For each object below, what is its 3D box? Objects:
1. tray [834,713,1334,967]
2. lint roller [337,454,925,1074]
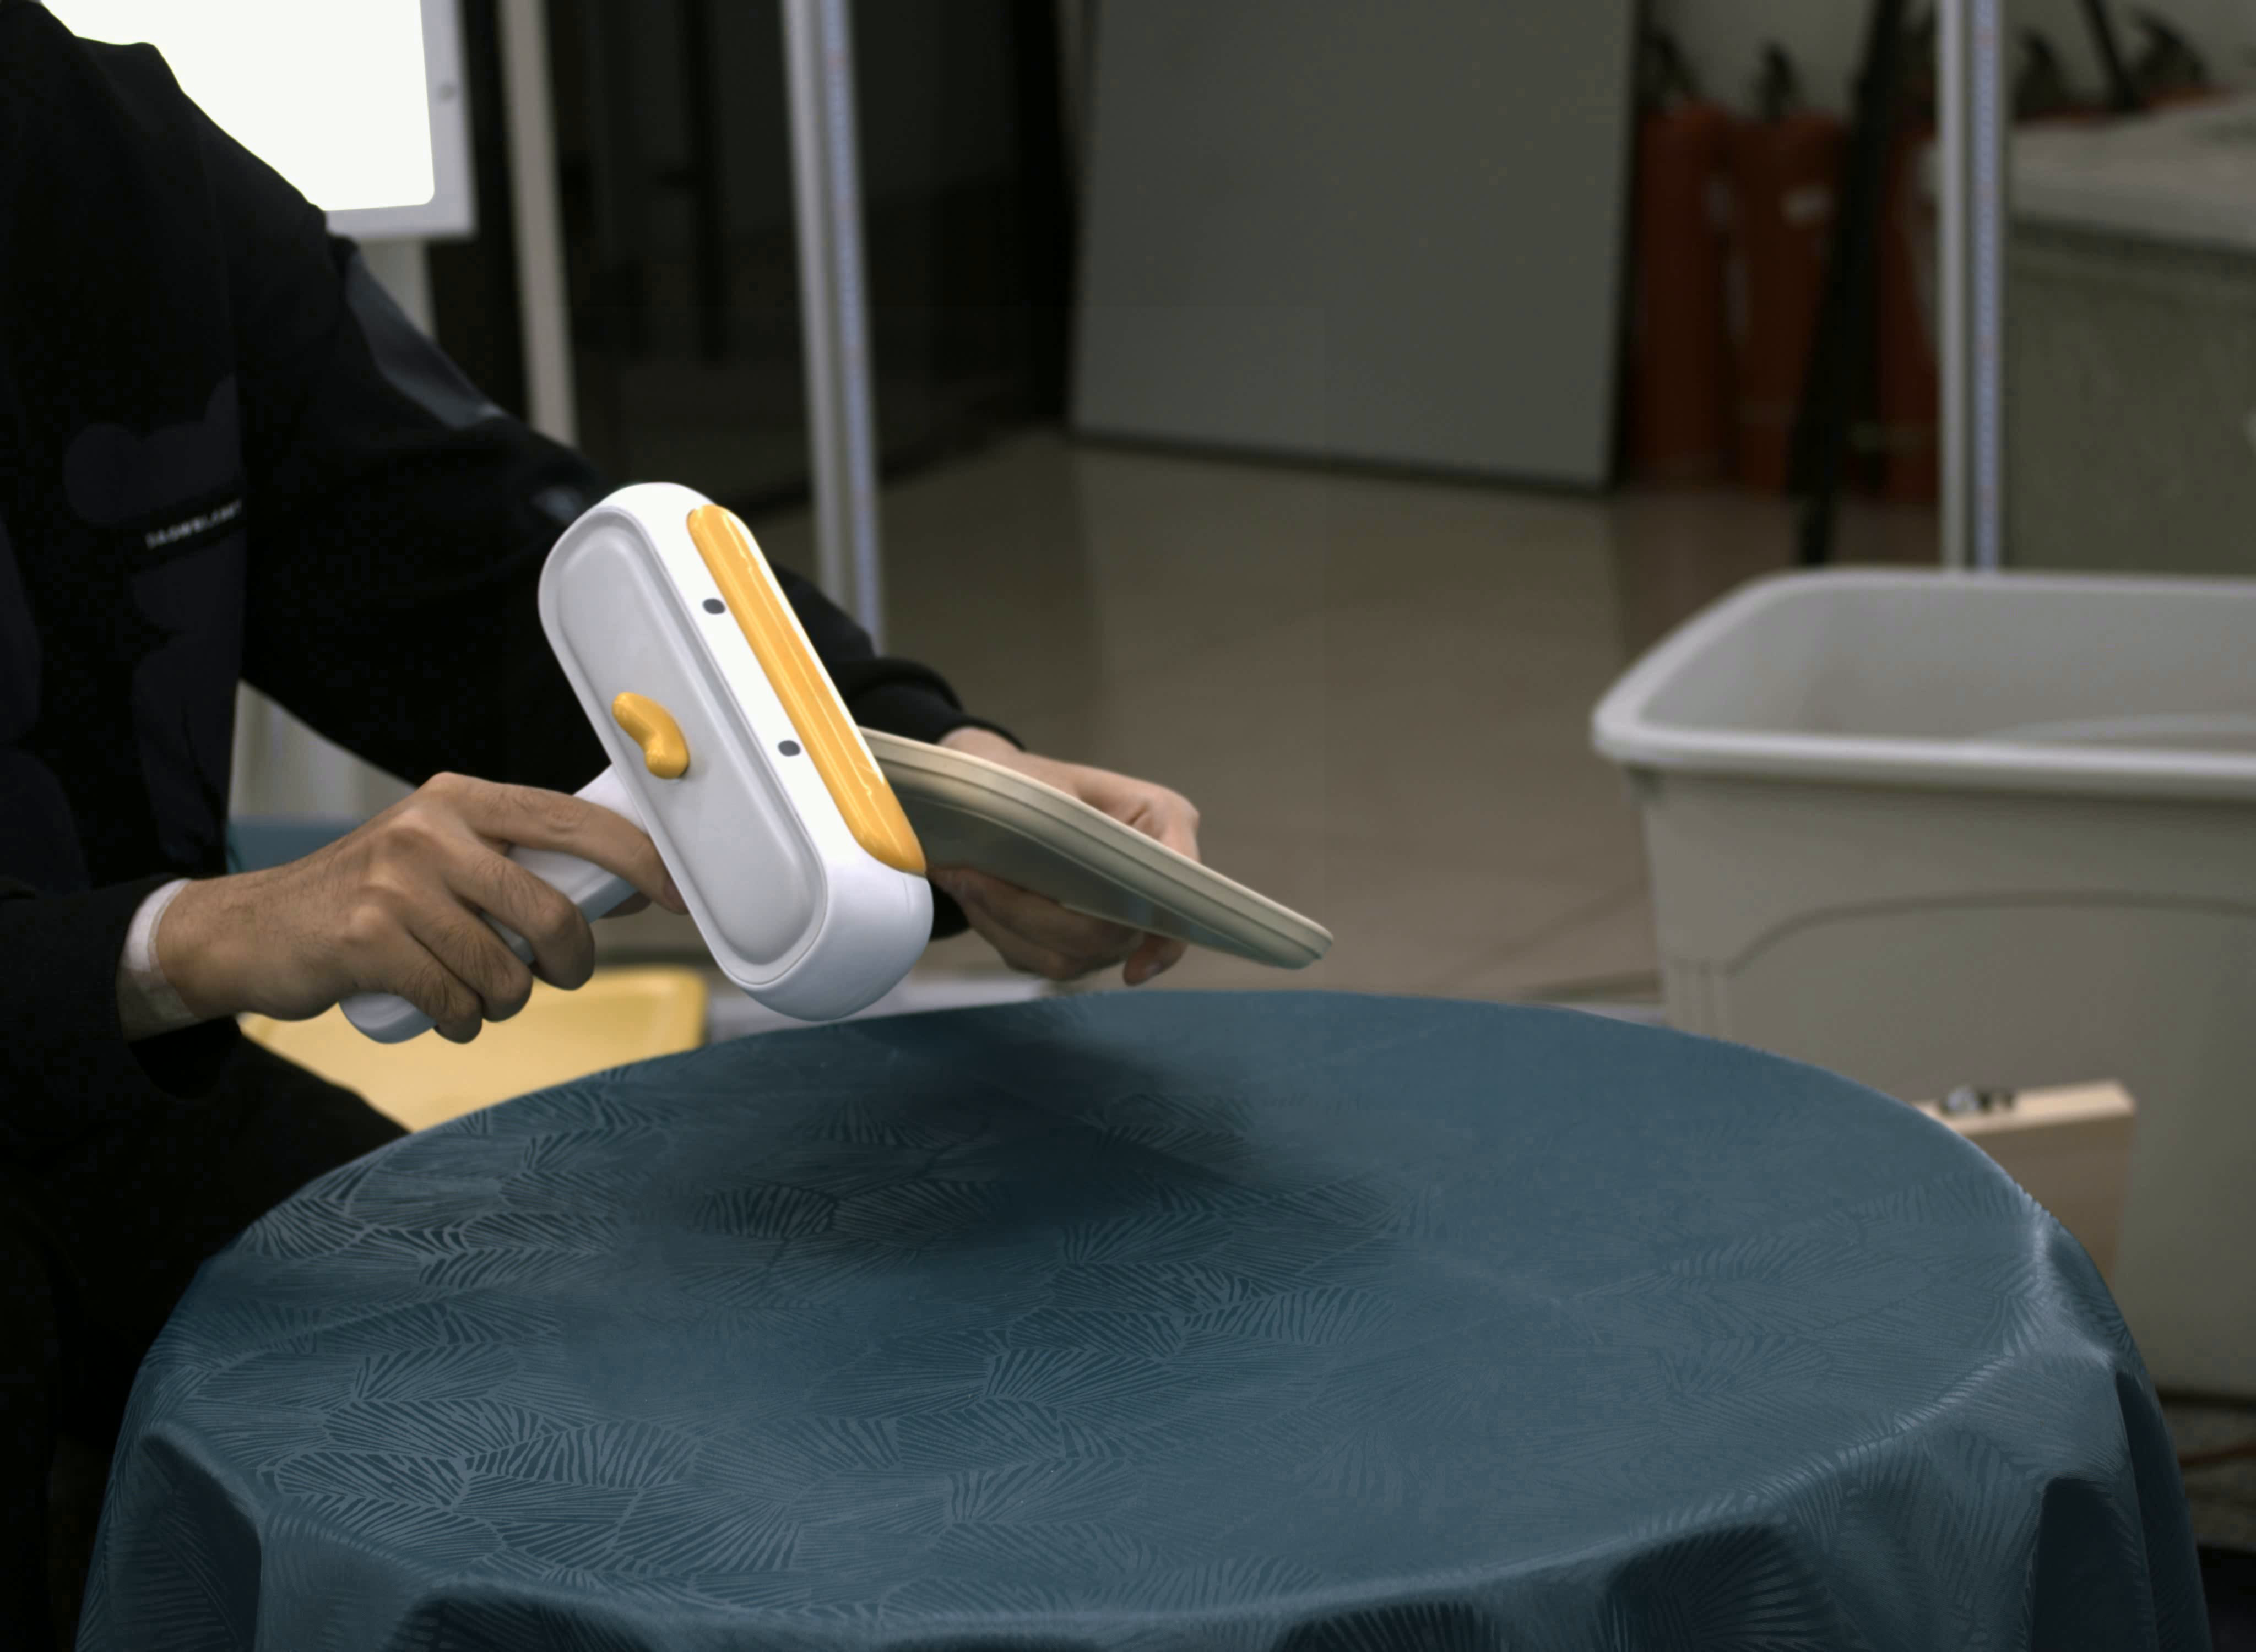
[{"bbox_3d":[-0.053,-0.002,1.804,0.168,0.017,0.242,28,-9,-37],"label":"tray"},{"bbox_3d":[-0.172,0.006,1.719,0.195,0.193,0.073,54,22,24],"label":"lint roller"}]
